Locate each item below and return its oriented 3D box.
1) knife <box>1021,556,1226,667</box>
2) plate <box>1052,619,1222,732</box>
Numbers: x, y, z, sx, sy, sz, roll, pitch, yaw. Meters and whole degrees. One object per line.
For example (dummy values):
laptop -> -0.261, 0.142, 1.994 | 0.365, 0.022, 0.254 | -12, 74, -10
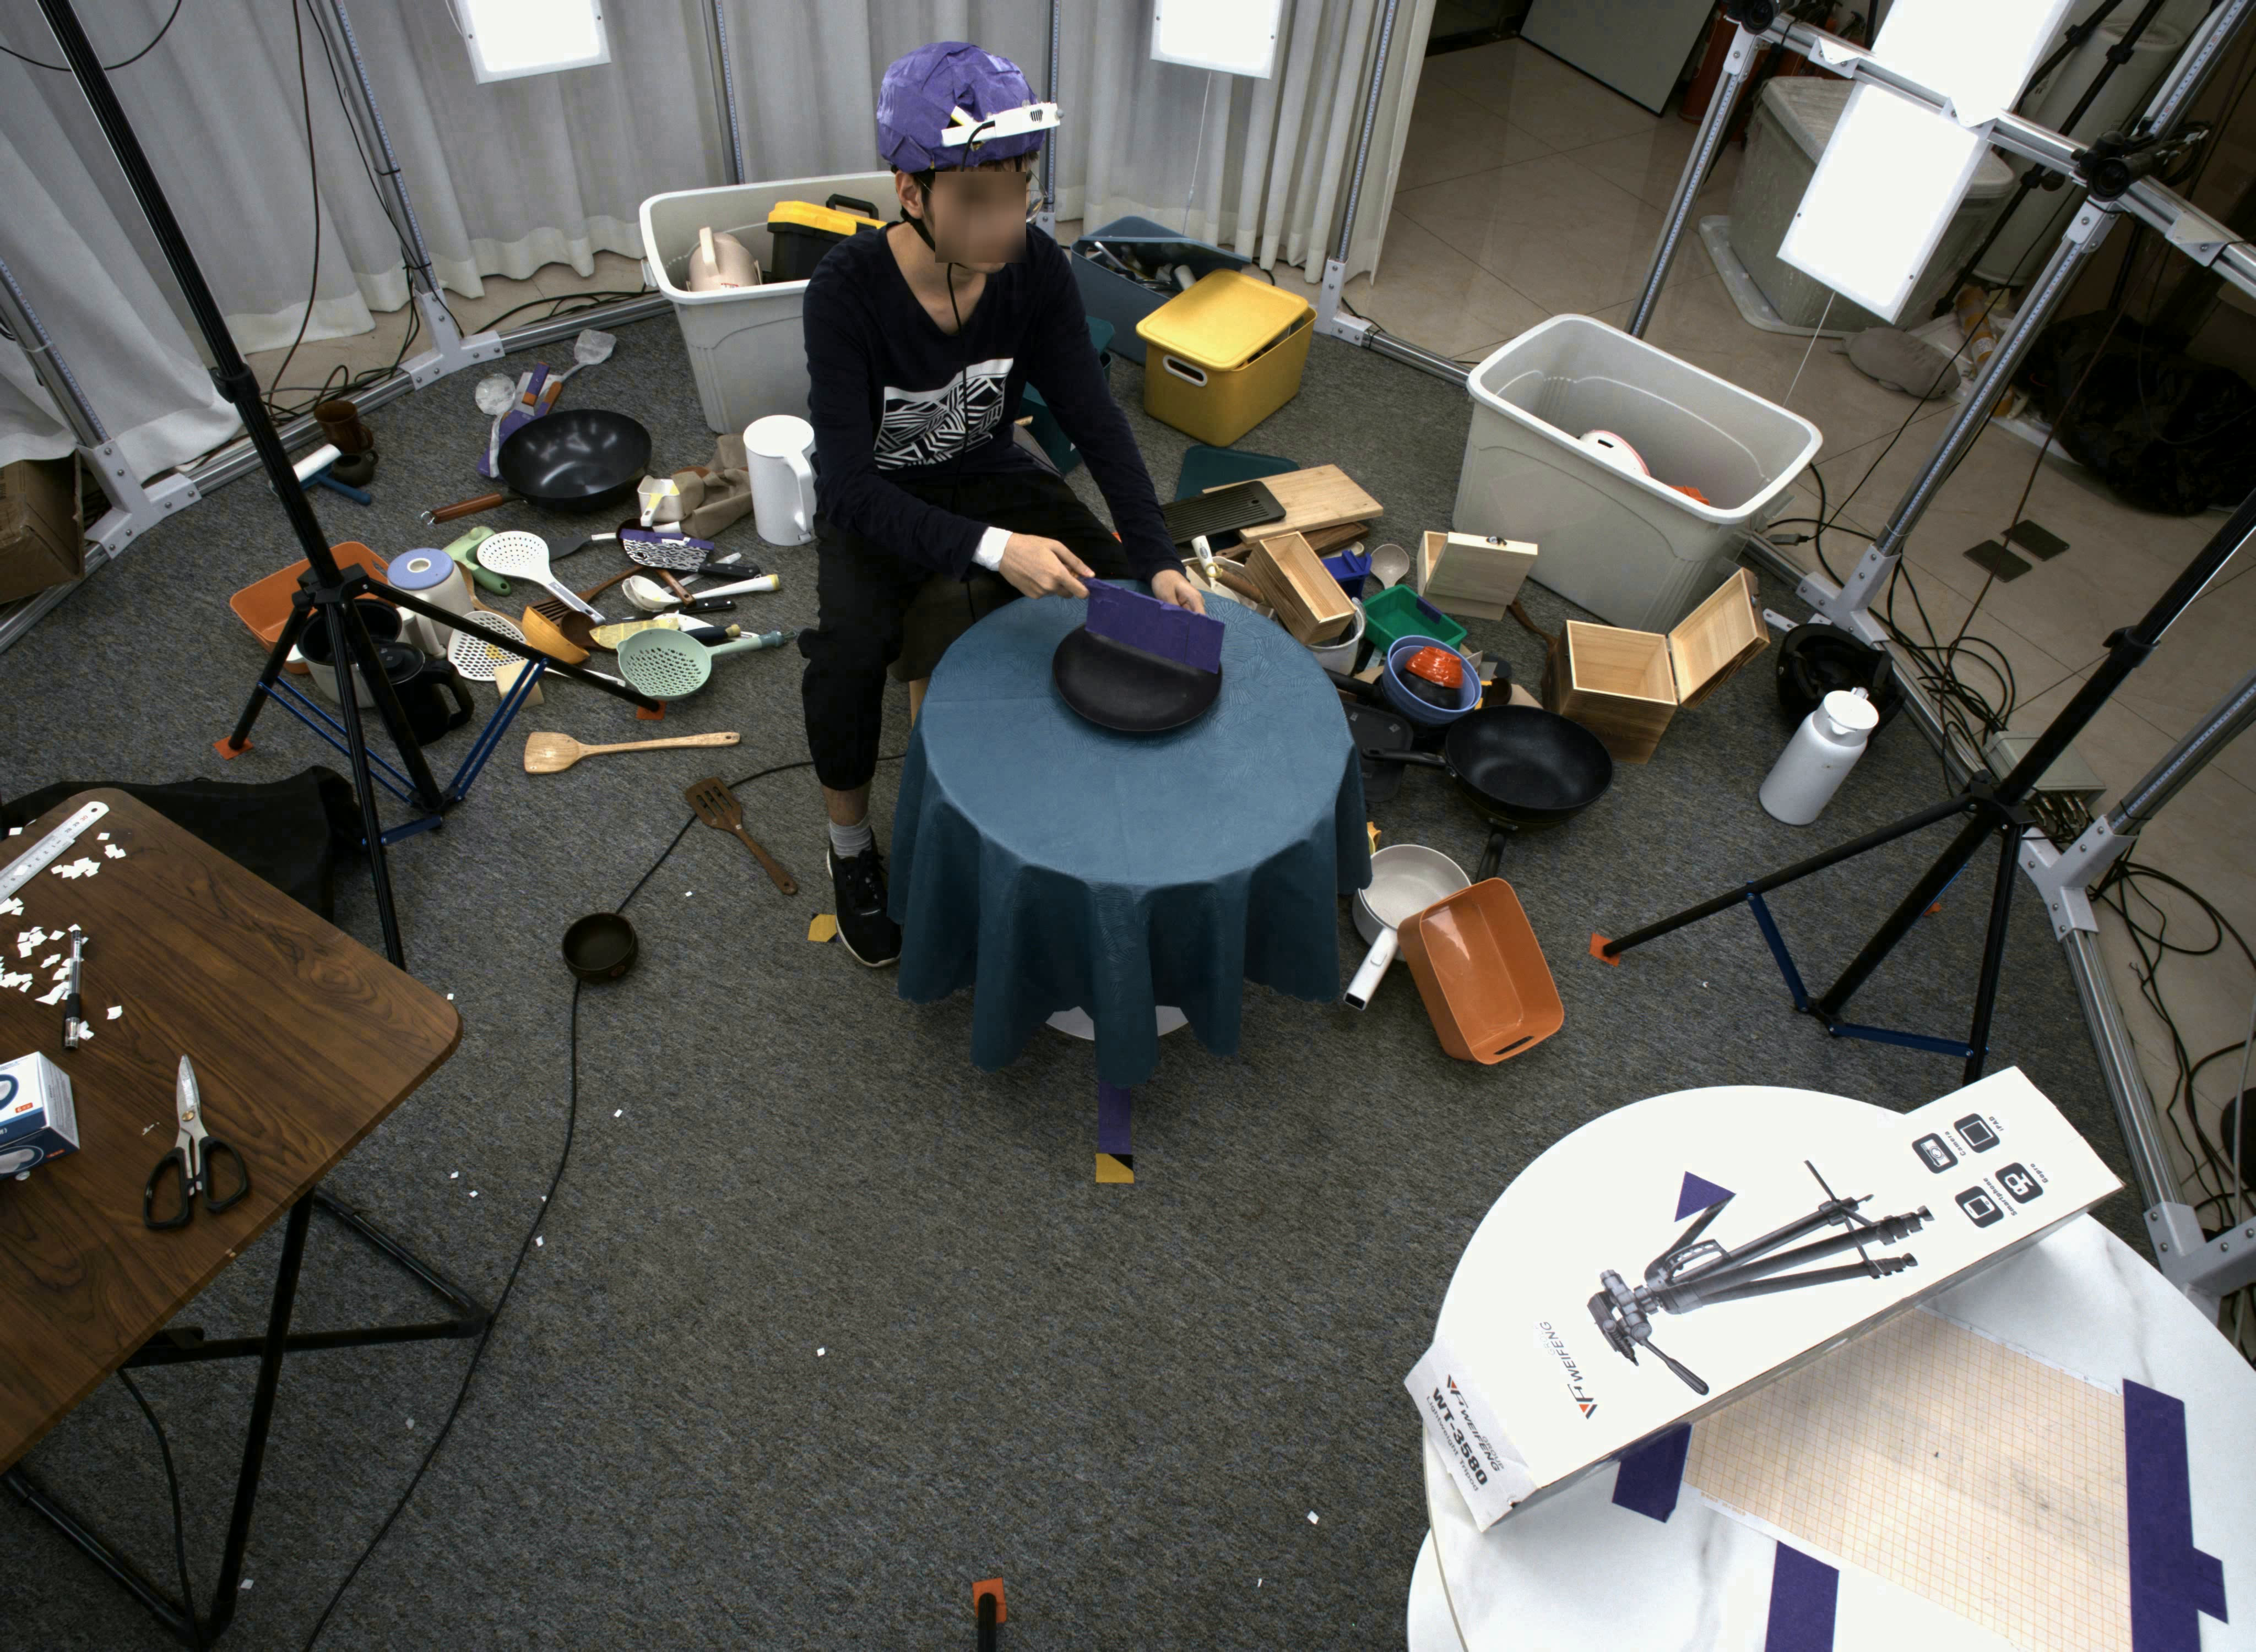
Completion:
knife -> -0.011, -0.302, 1.839 | 0.317, 0.101, 0.033 | 21, 42, 17
plate -> 0.013, -0.219, 1.842 | 0.244, 0.023, 0.250 | 2, 50, -2
